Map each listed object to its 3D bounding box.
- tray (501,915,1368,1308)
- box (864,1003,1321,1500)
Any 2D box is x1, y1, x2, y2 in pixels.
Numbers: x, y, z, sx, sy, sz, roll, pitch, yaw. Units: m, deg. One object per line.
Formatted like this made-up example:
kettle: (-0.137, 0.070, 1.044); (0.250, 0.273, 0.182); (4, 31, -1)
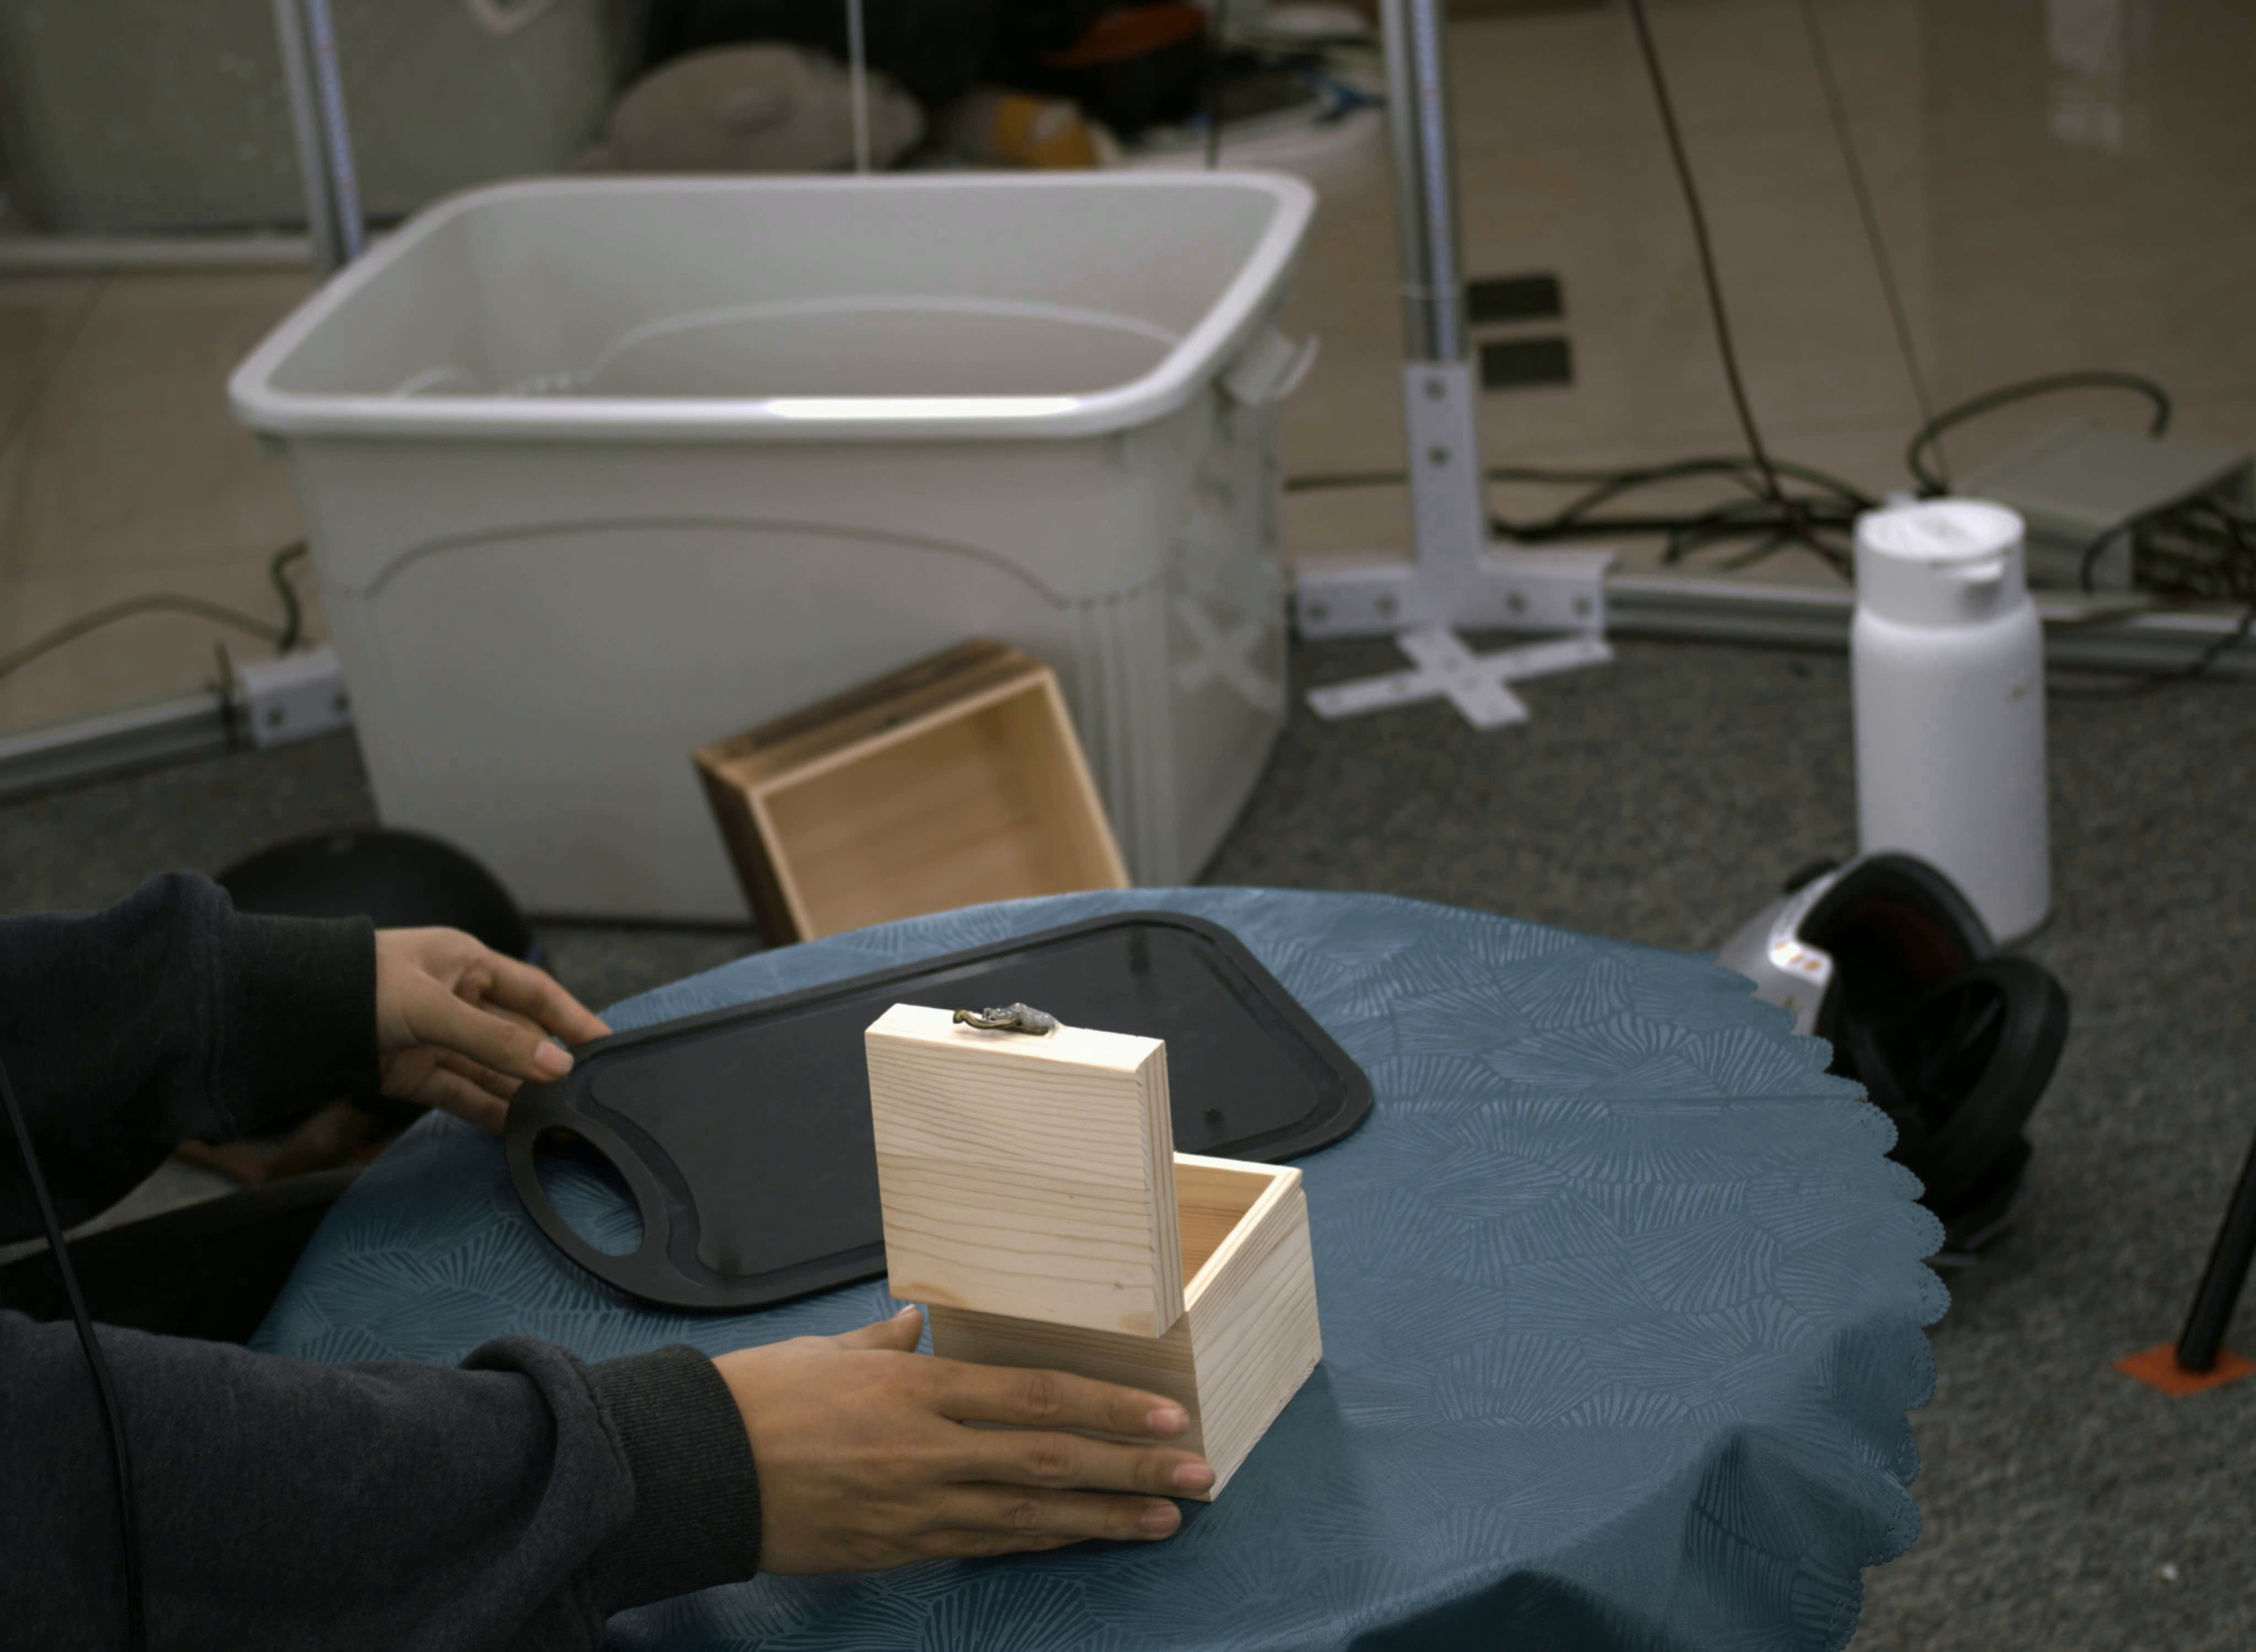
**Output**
tray: (-0.081, 0.108, 2.205); (0.324, 0.010, 0.208); (-14, 30, -18)
box: (-0.009, 0.127, 1.952); (0.102, 0.187, 0.132); (7, 30, 24)
